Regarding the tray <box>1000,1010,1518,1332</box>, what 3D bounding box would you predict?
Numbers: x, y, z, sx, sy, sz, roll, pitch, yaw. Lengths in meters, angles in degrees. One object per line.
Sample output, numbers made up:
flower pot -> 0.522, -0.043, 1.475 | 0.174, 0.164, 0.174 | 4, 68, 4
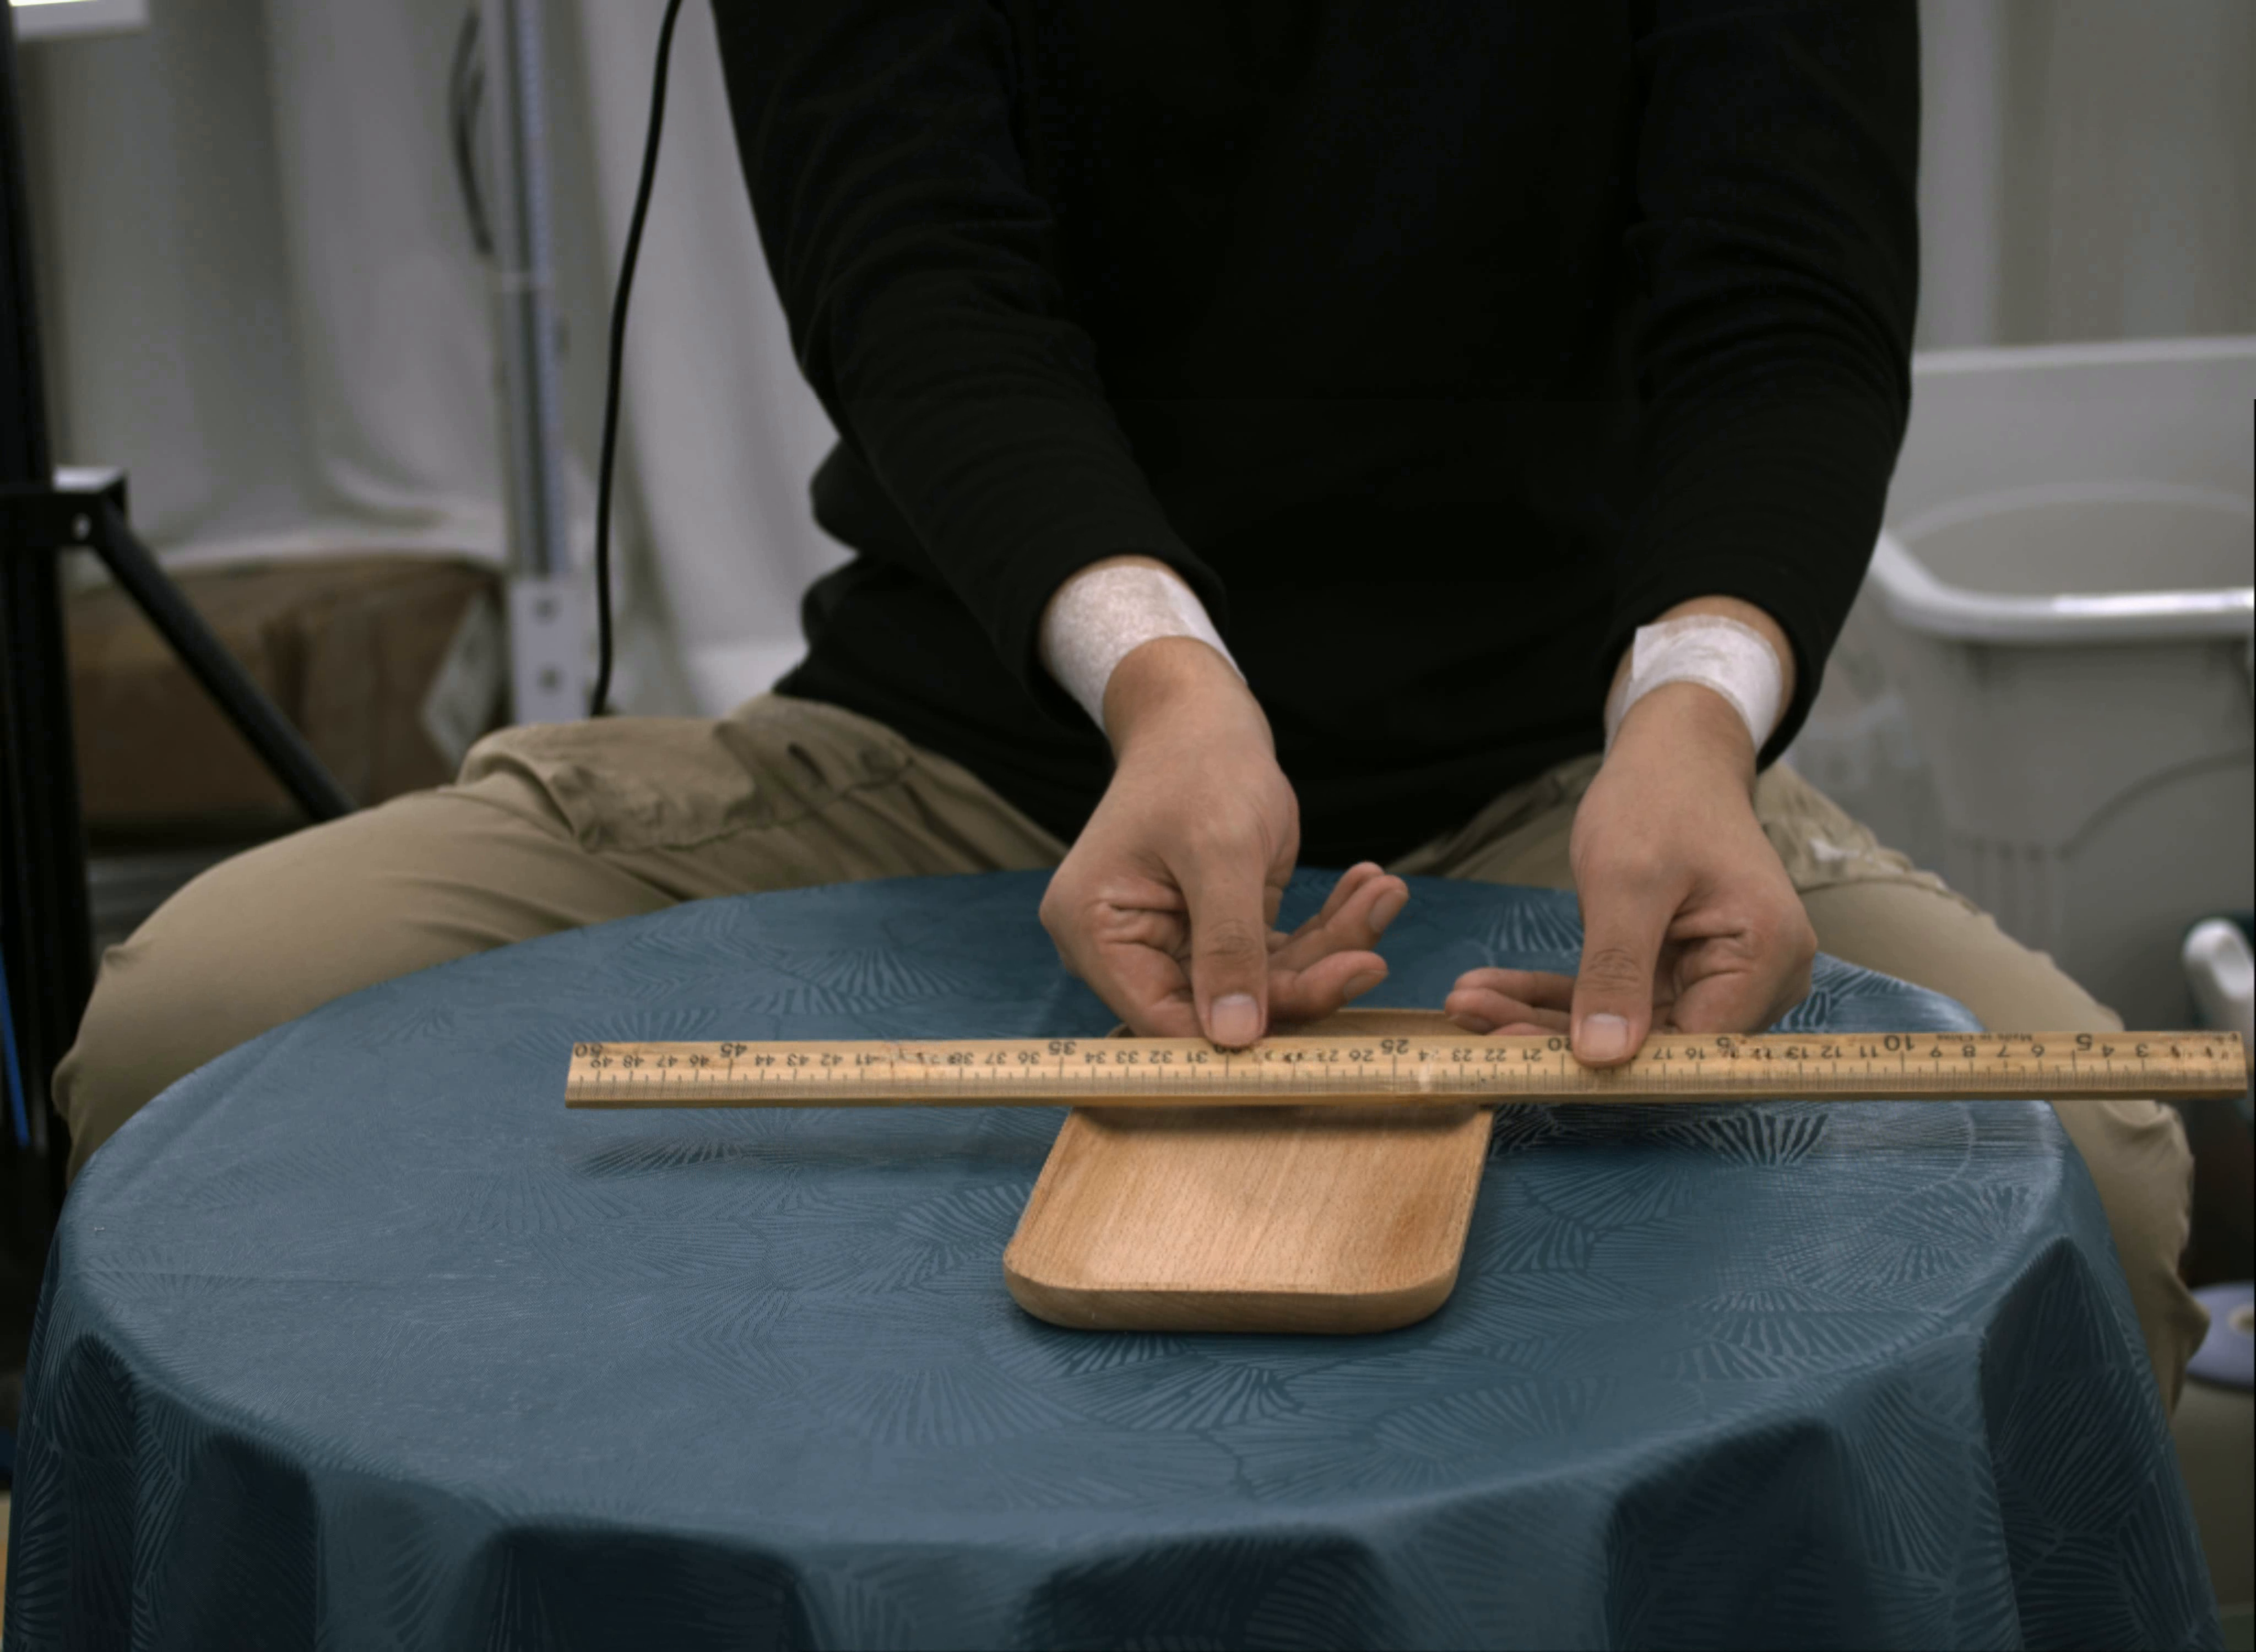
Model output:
tray -> 0.043, 0.098, 1.554 | 0.131, 0.023, 0.249 | 2, 15, 10

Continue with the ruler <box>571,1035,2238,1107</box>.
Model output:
ruler -> 0.080, 0.074, 1.578 | 0.501, 0.006, 0.027 | 0, 43, 8
